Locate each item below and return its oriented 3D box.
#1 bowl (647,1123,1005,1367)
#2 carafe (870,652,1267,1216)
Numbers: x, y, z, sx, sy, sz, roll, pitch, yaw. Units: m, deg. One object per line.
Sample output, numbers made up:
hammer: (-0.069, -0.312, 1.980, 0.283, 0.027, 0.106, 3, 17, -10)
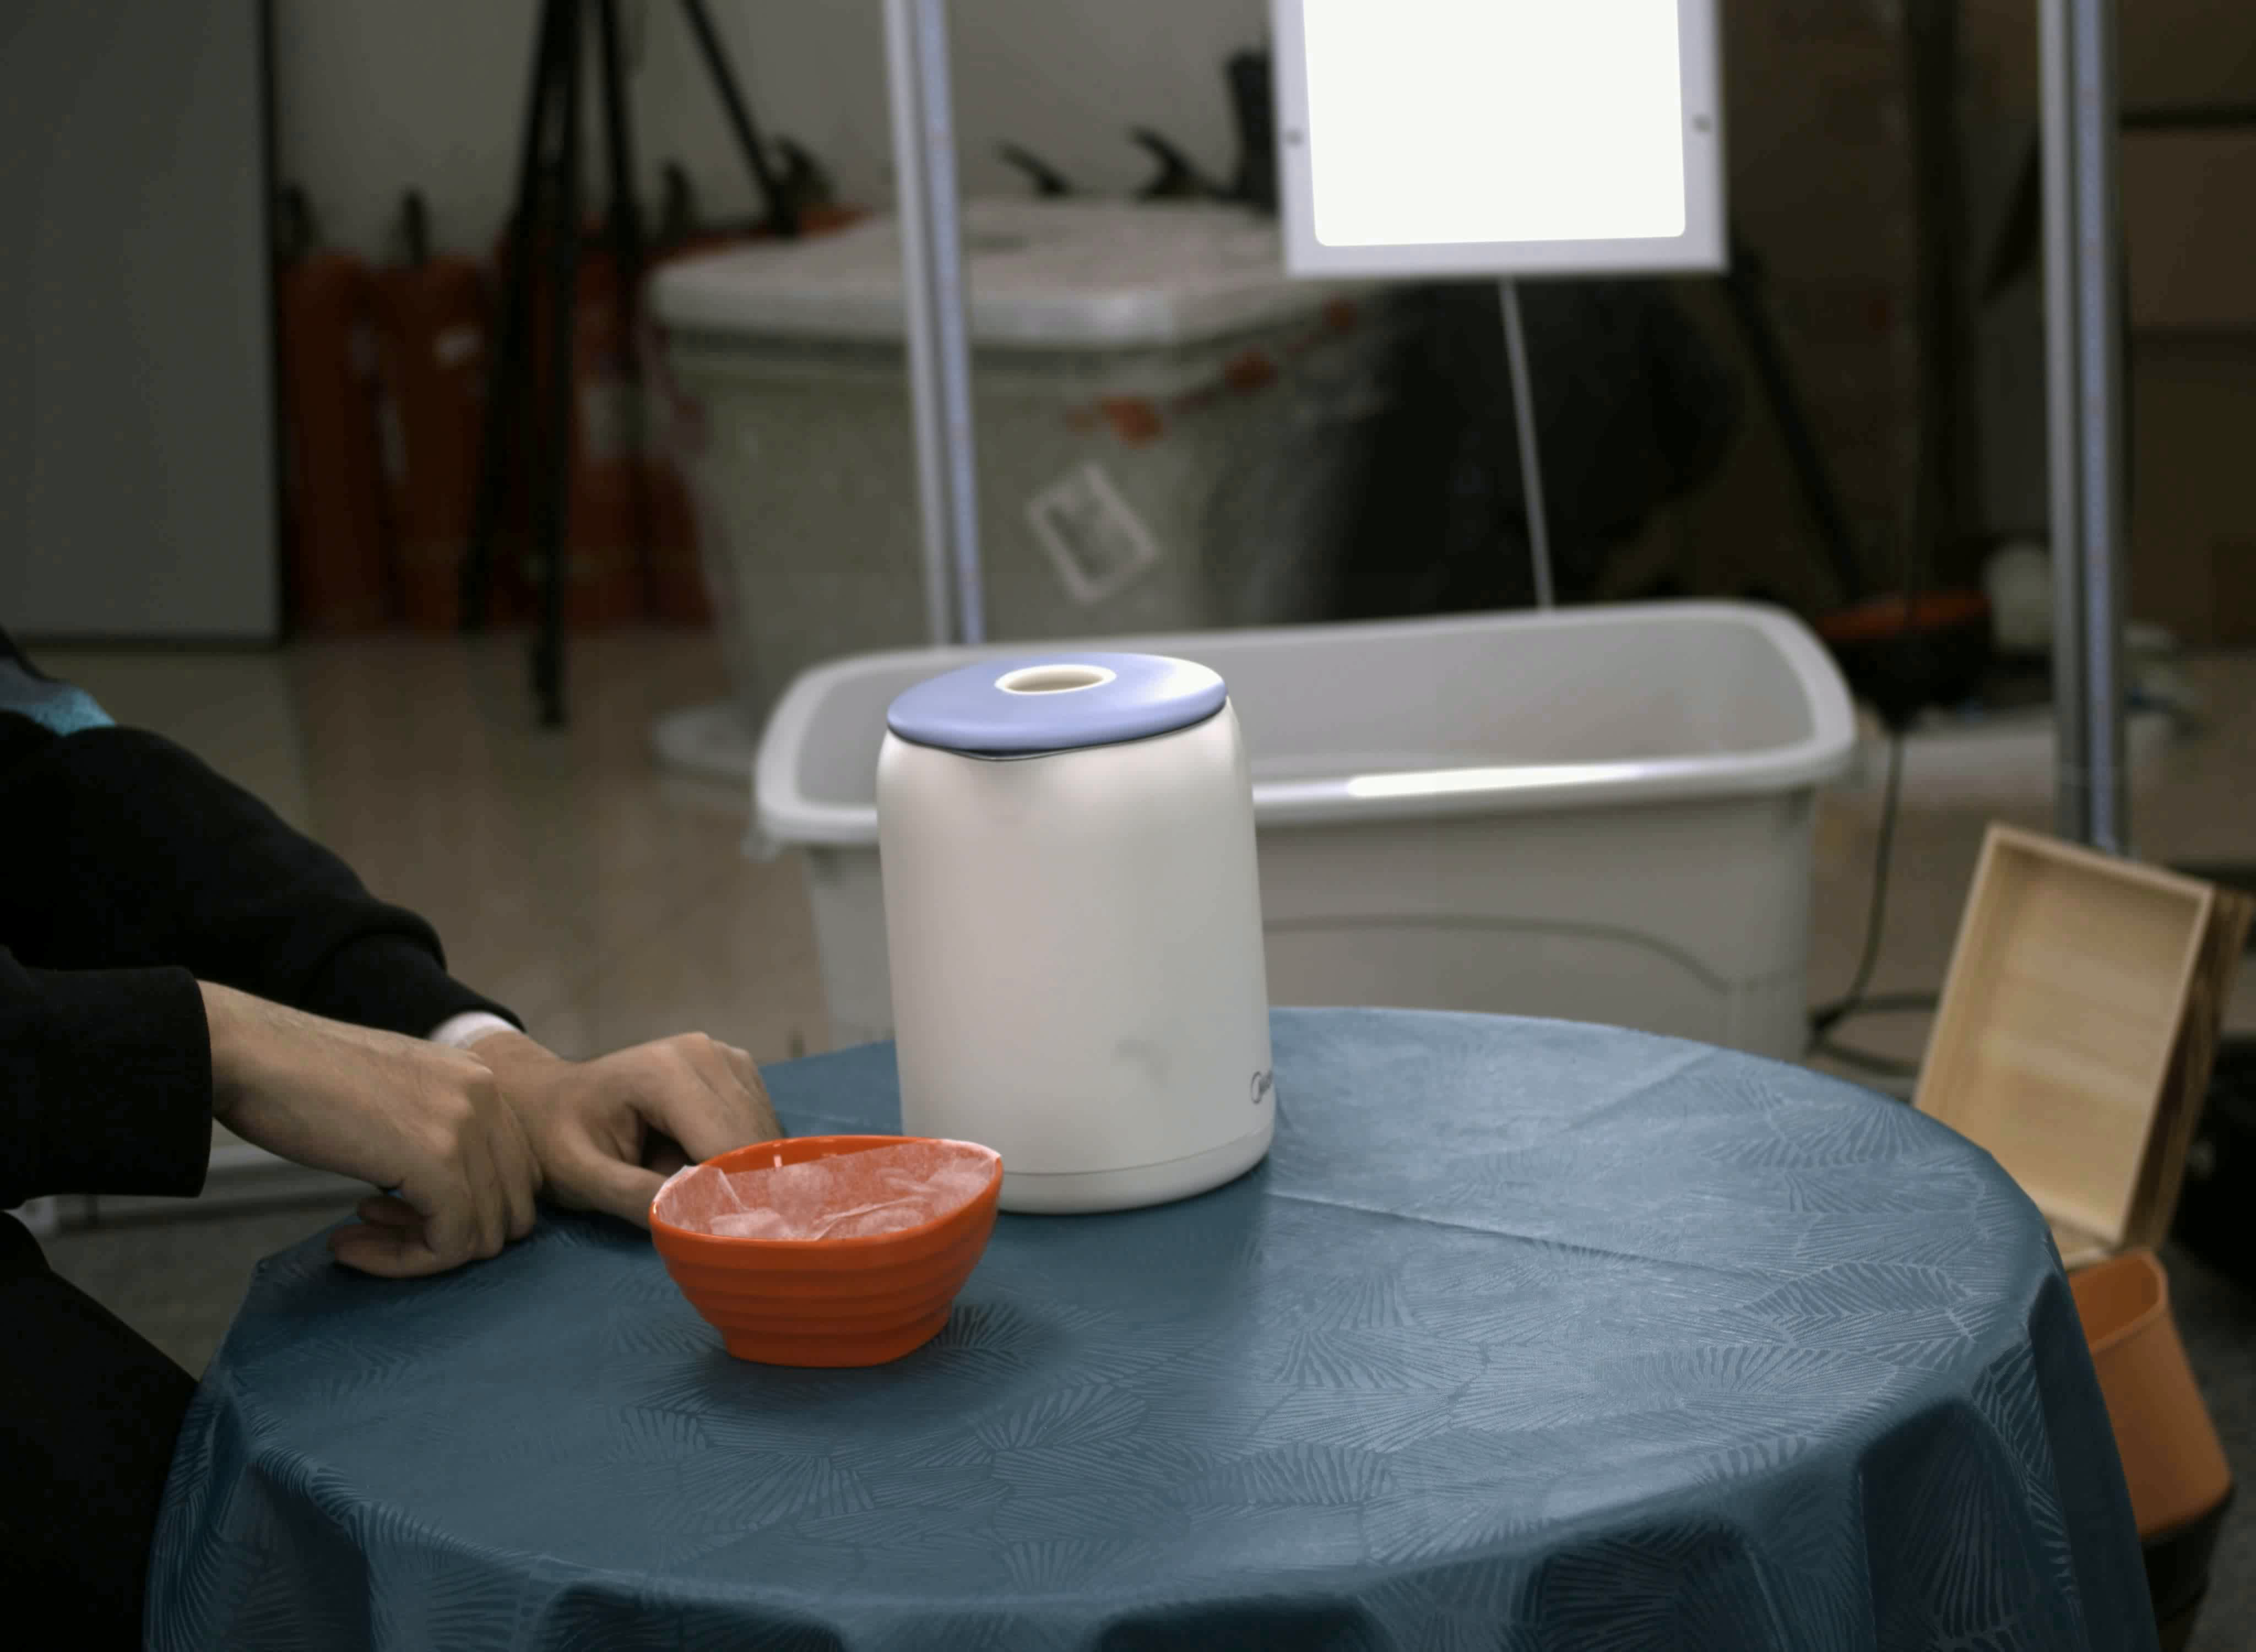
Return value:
bowl: (-0.095, 0.137, 1.772, 0.118, 0.051, 0.119, -3, 17, 0)
carafe: (-0.014, 0.031, 1.932, 0.133, 0.183, 0.188, 1, 12, 15)
